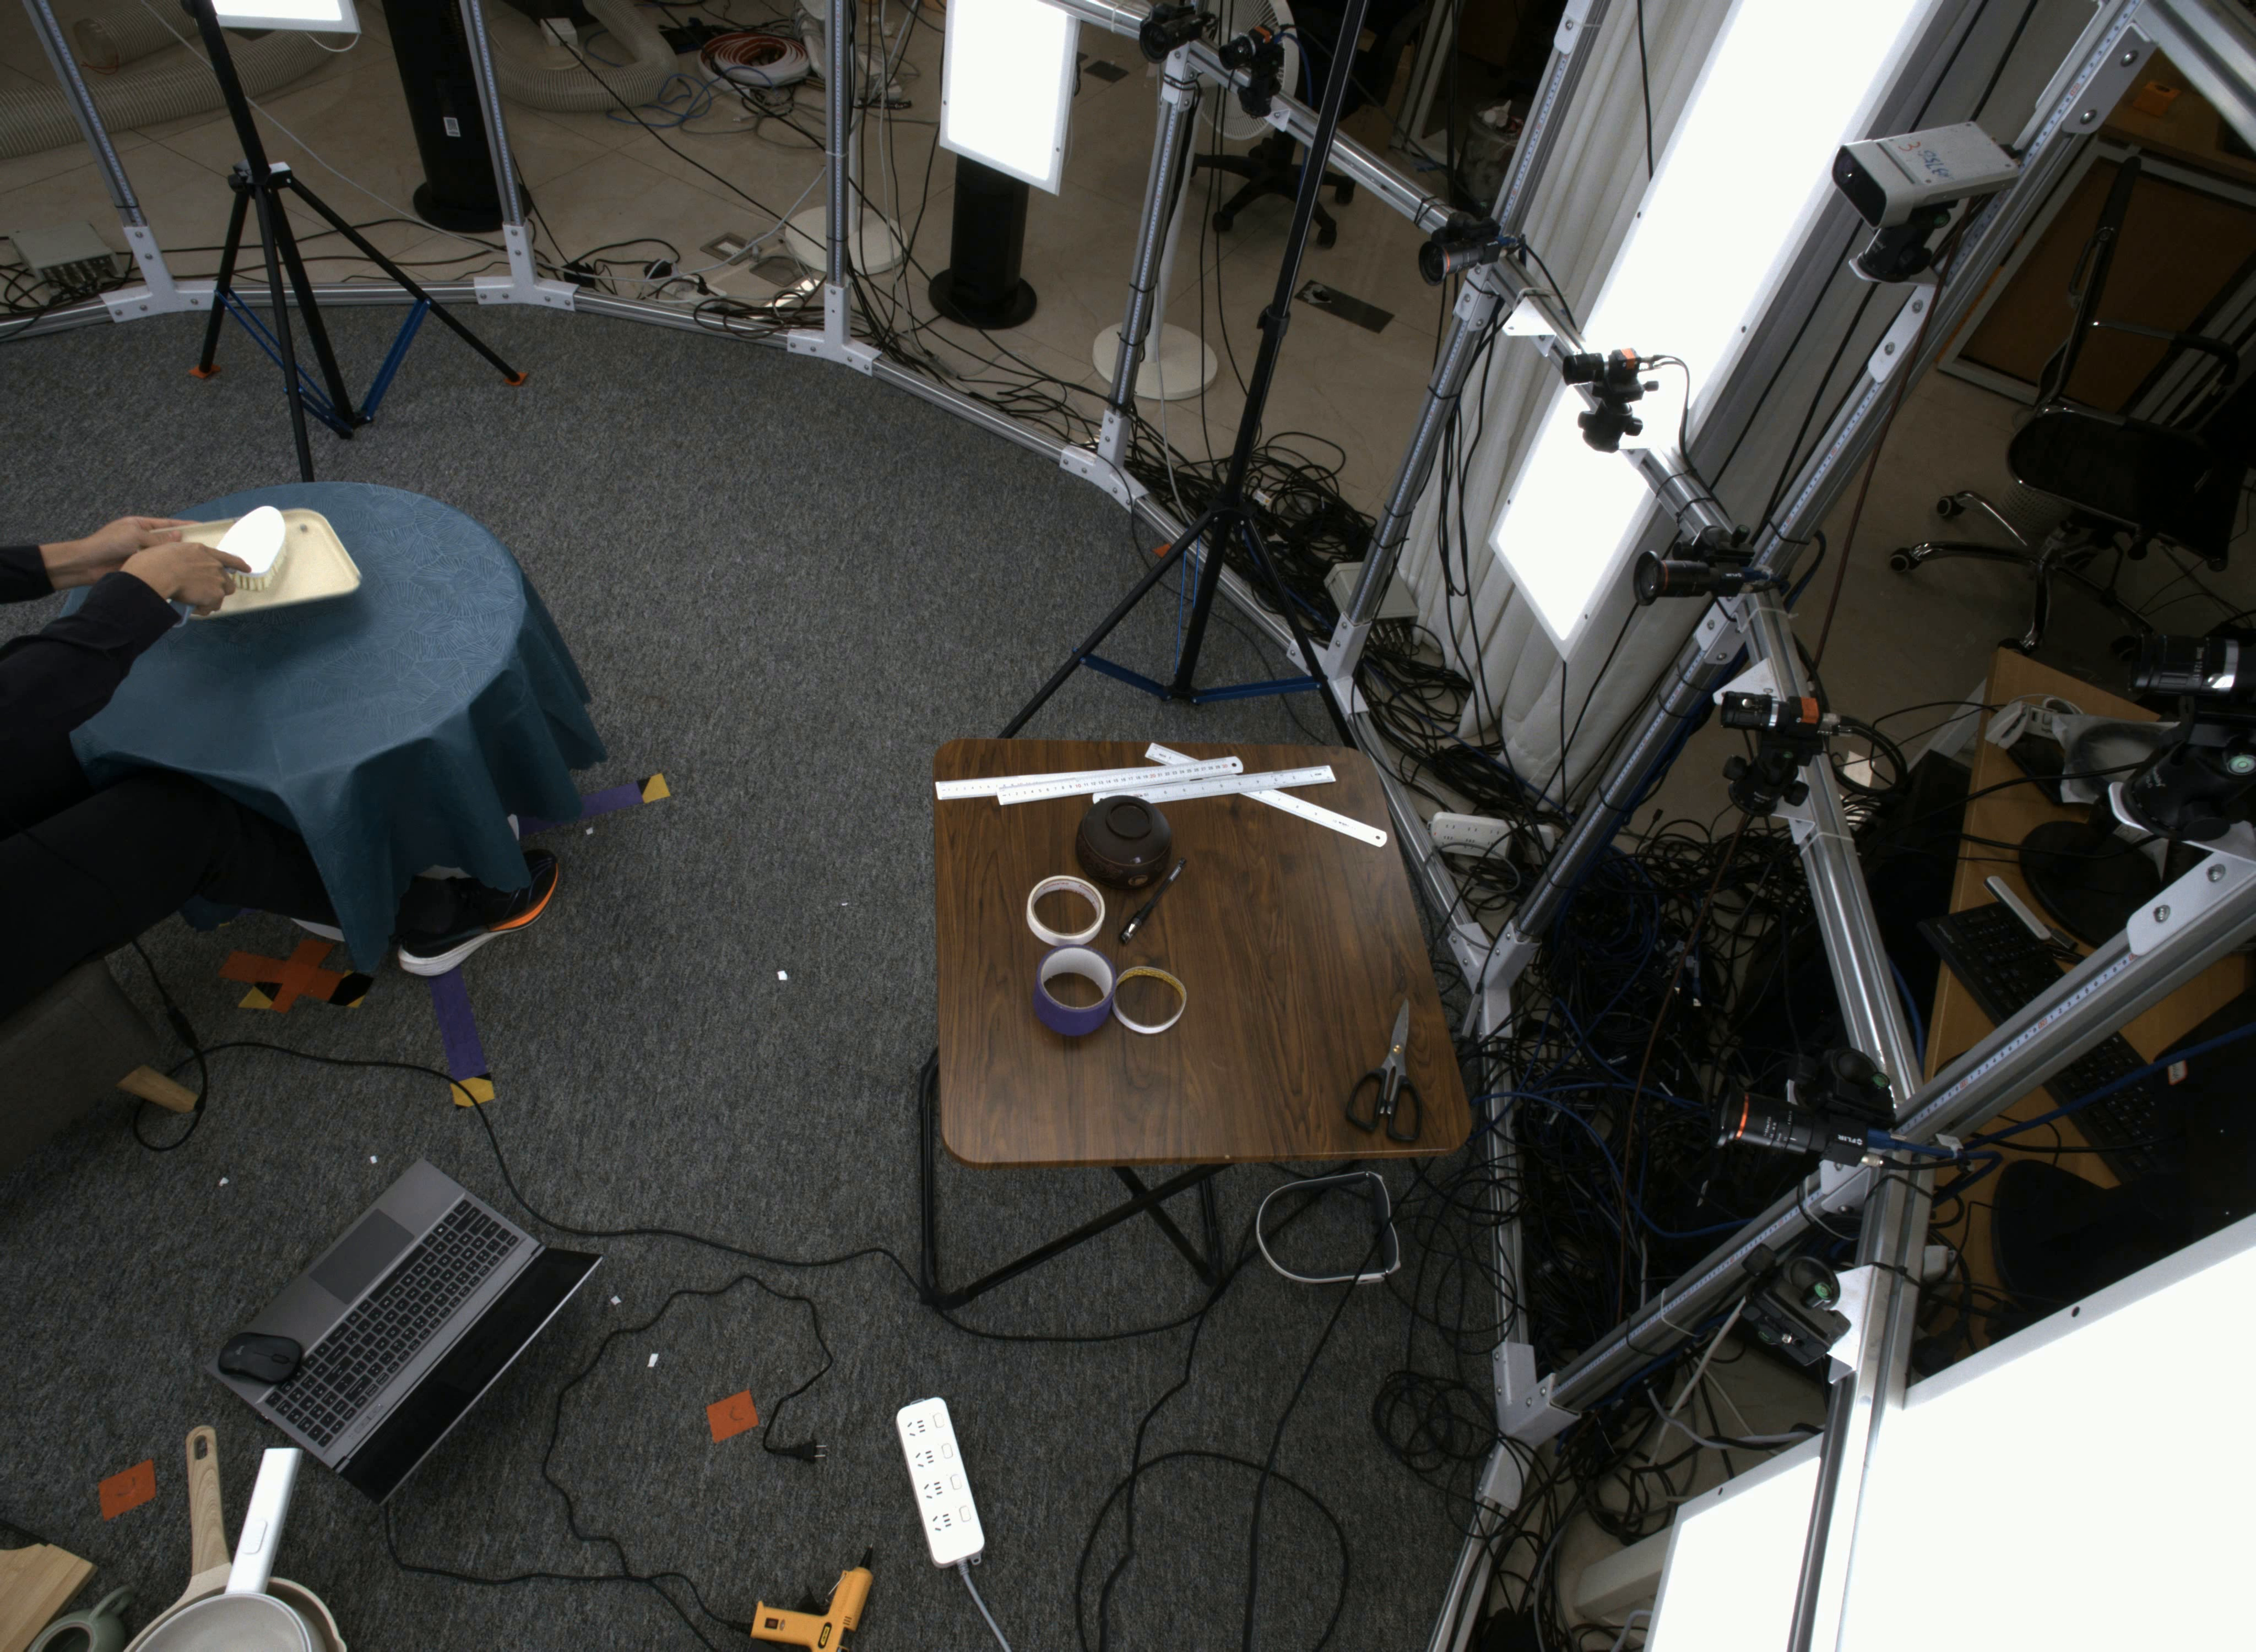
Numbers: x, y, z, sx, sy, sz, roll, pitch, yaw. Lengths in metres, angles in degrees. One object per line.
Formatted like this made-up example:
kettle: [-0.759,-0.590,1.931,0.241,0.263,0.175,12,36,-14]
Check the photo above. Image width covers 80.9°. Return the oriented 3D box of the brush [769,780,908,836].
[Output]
brush: [-0.445,-0.025,1.963,0.081,0.085,0.330,-7,0,24]

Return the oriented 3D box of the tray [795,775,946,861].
tray: [-0.406,-0.013,2.056,0.242,0.018,0.166,14,28,-19]
